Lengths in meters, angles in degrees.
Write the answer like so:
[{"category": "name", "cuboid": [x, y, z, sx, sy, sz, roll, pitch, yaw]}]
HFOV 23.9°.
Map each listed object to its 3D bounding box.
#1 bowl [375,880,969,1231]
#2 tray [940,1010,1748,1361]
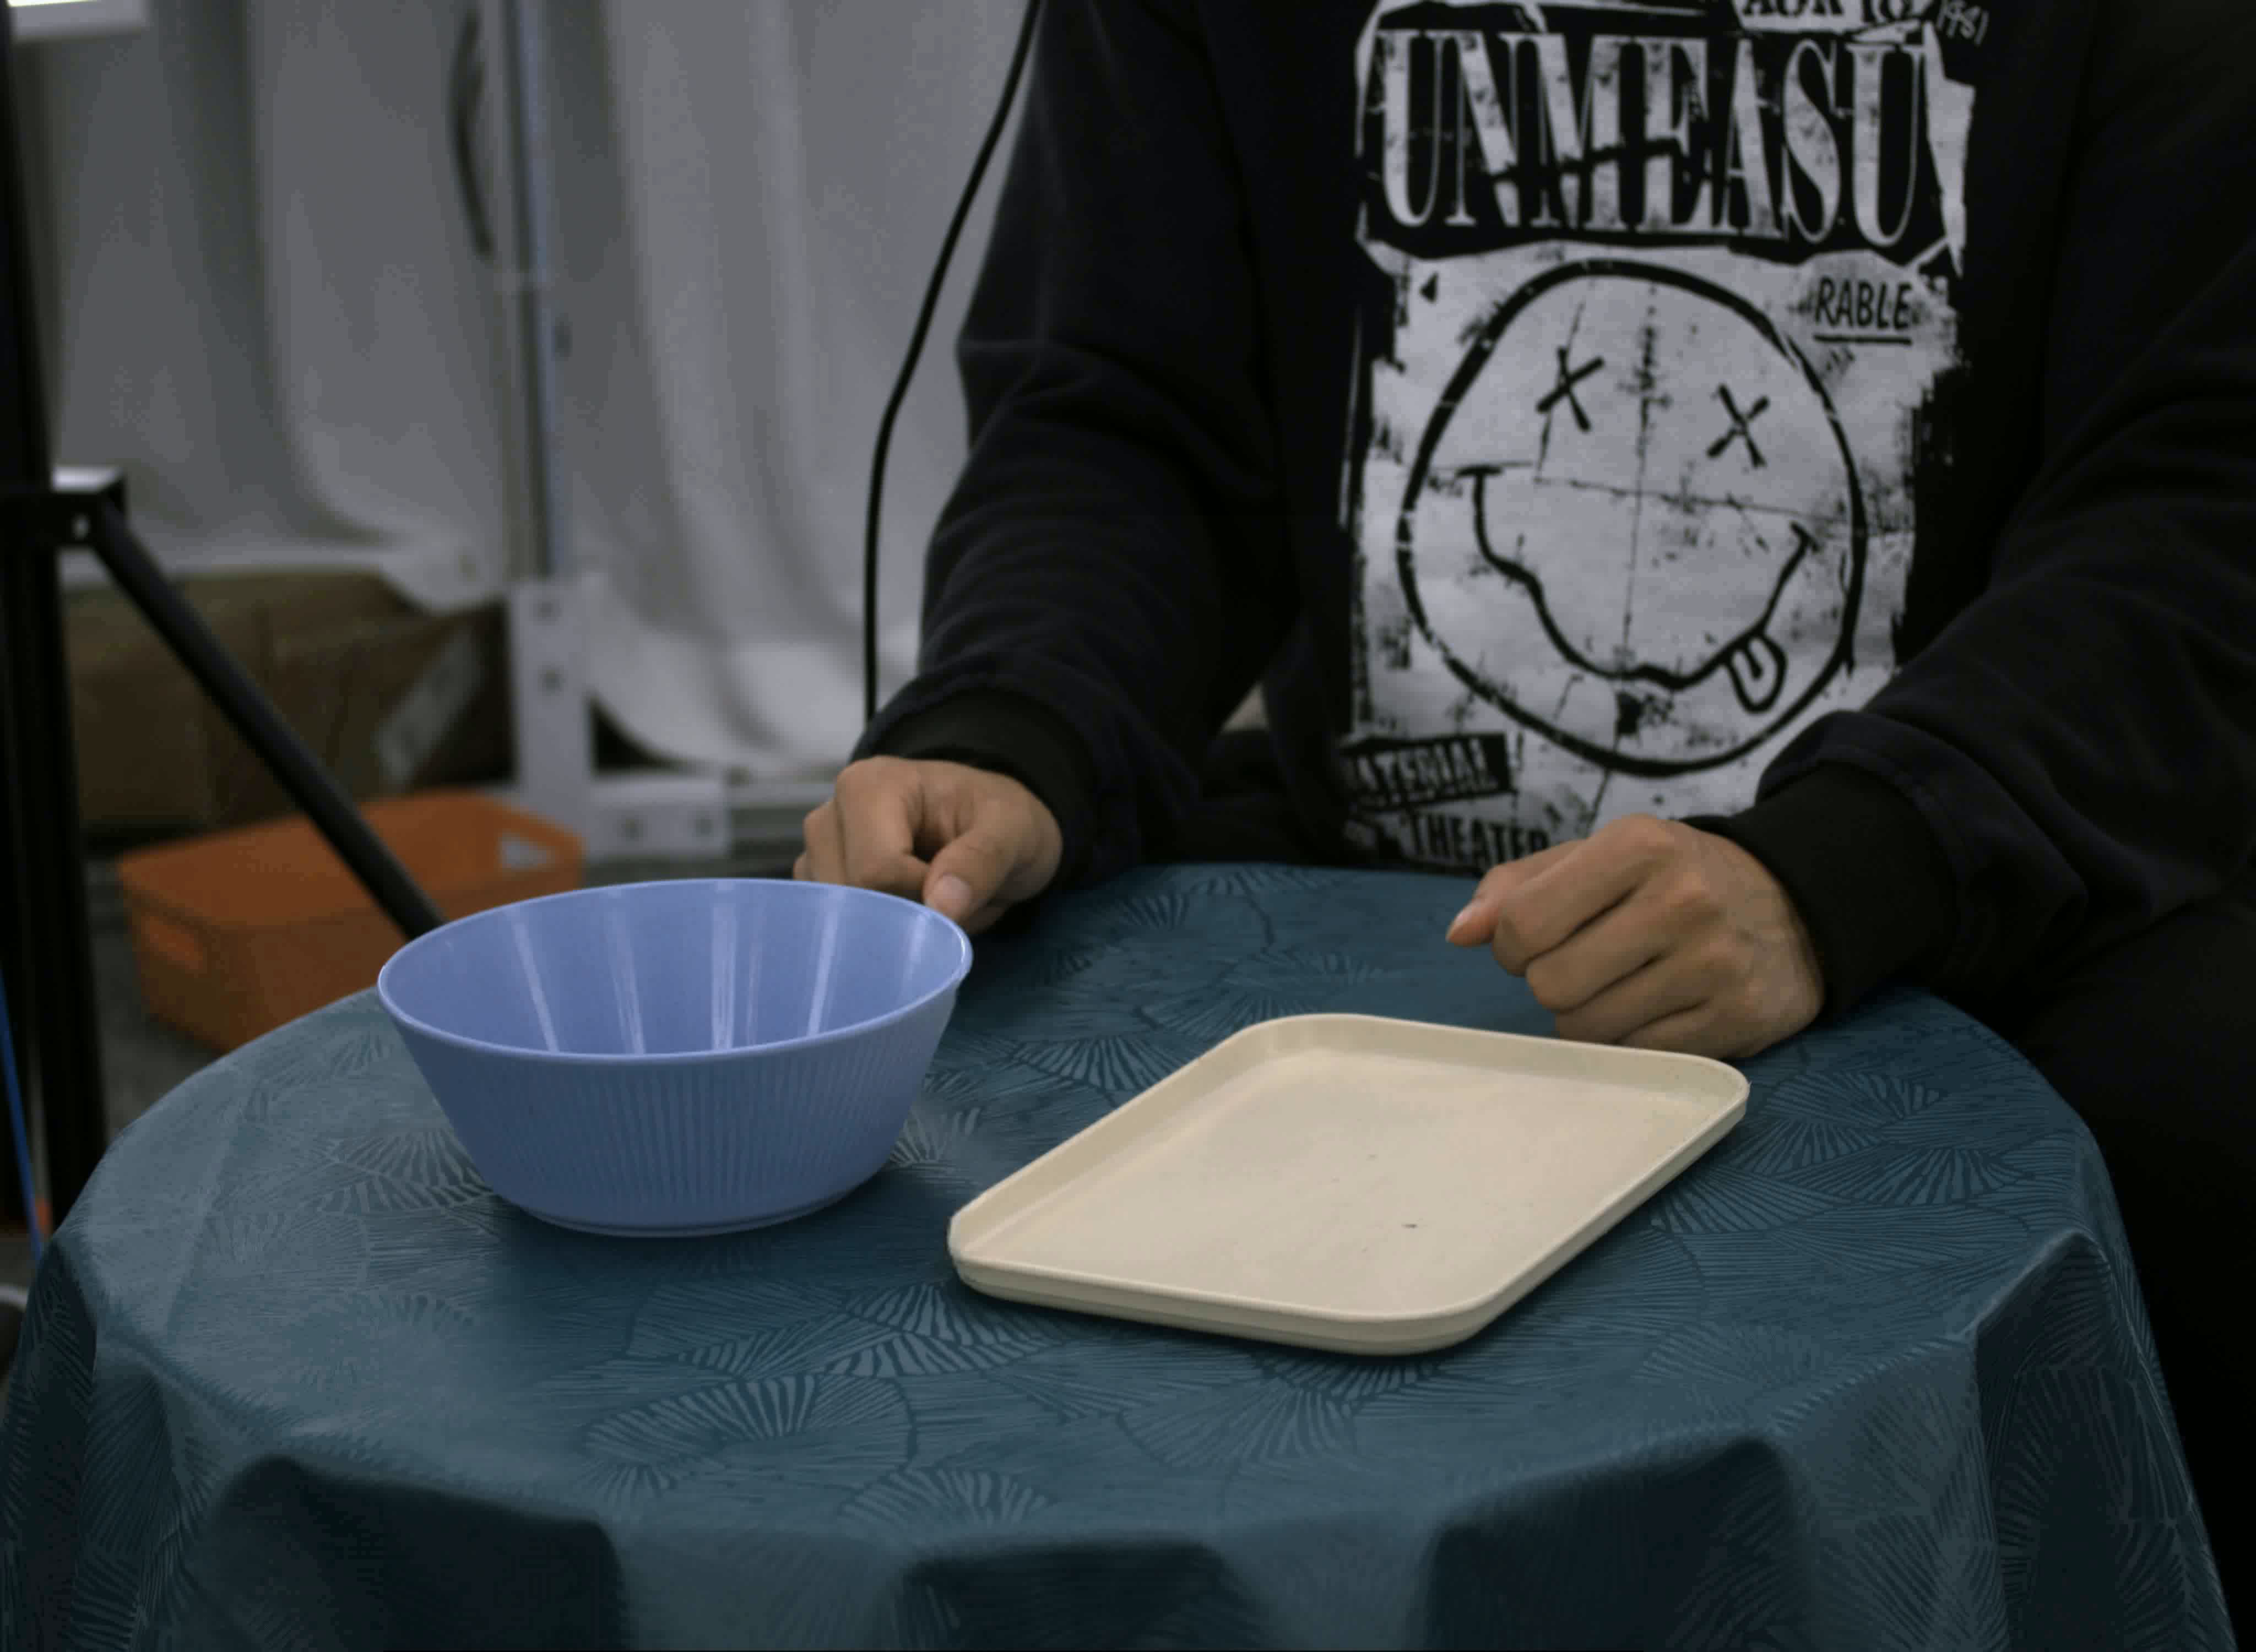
[{"category": "bowl", "cuboid": [-0.134, 0.070, 1.583, 0.175, 0.070, 0.177, -2, 16, -1]}, {"category": "tray", "cuboid": [0.066, 0.103, 1.534, 0.174, 0.017, 0.235, 7, 18, 29]}]
